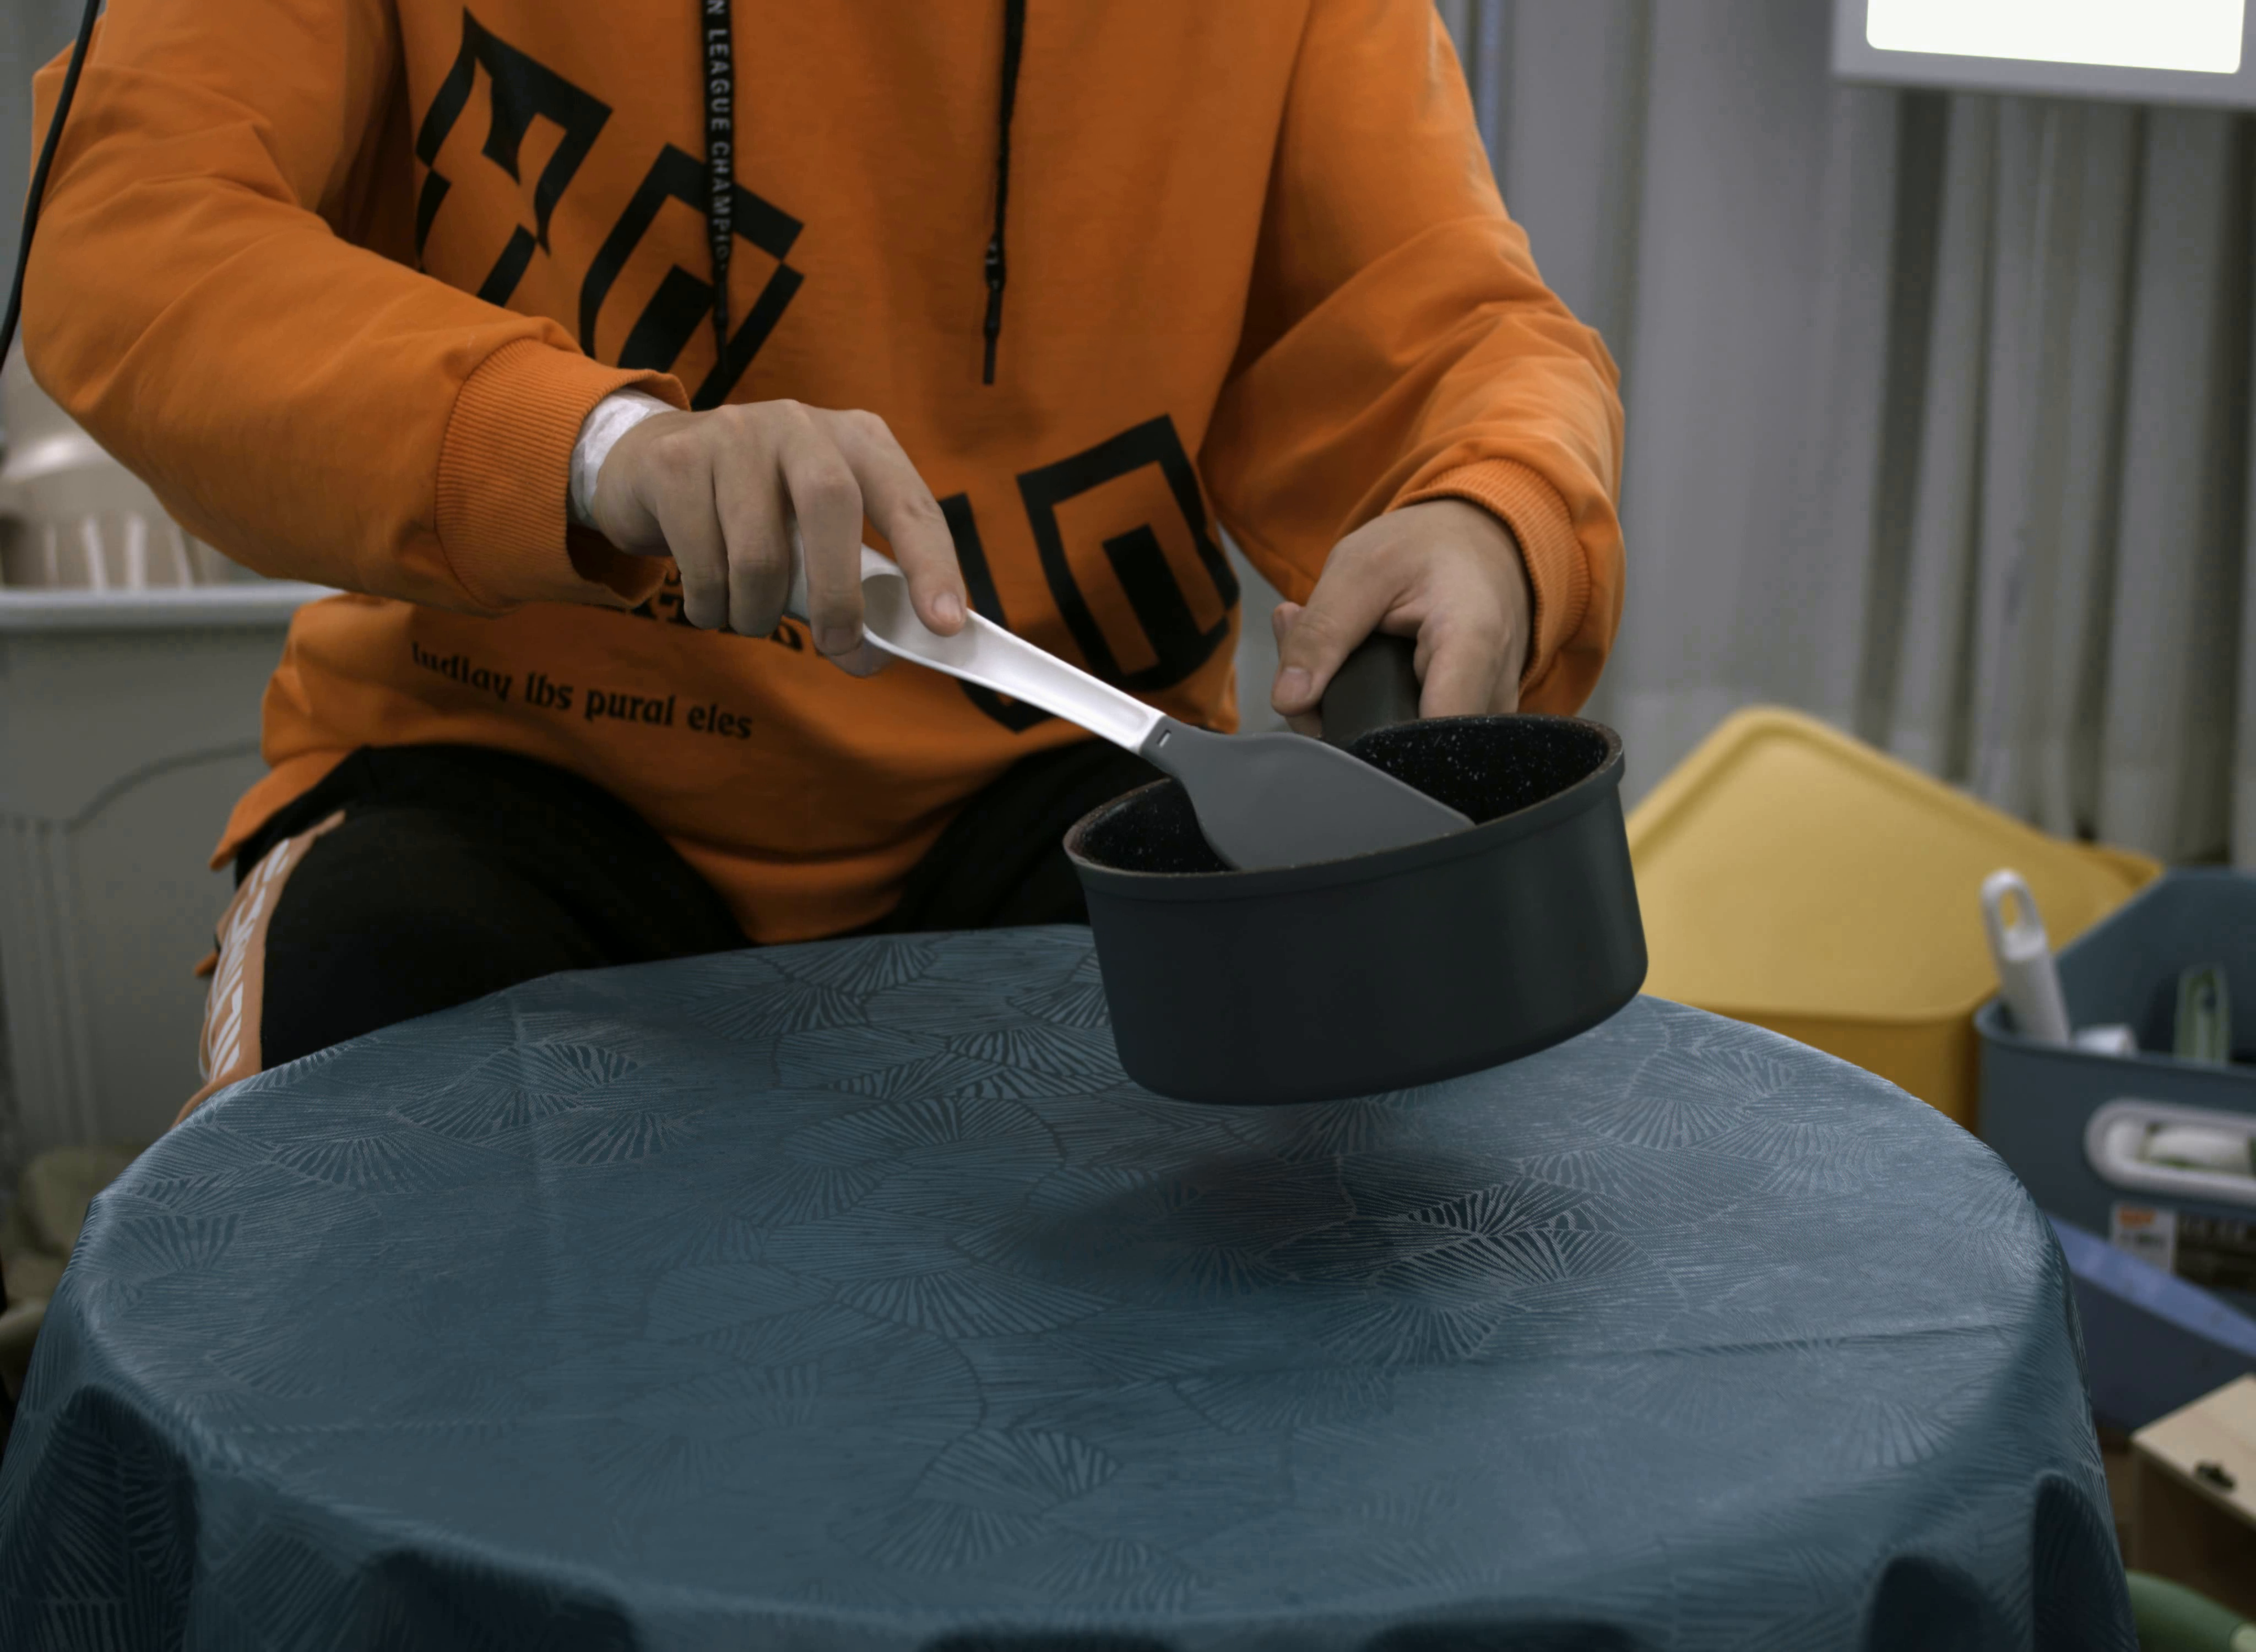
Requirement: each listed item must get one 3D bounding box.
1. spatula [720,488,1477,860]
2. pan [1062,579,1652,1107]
[{"bbox_3d":[-0.012,-0.038,1.636,0.284,0.032,0.058,27,72,29],"label":"spatula"},{"bbox_3d":[0.080,0.001,1.657,0.171,0.087,0.327,-8,15,9],"label":"pan"}]
